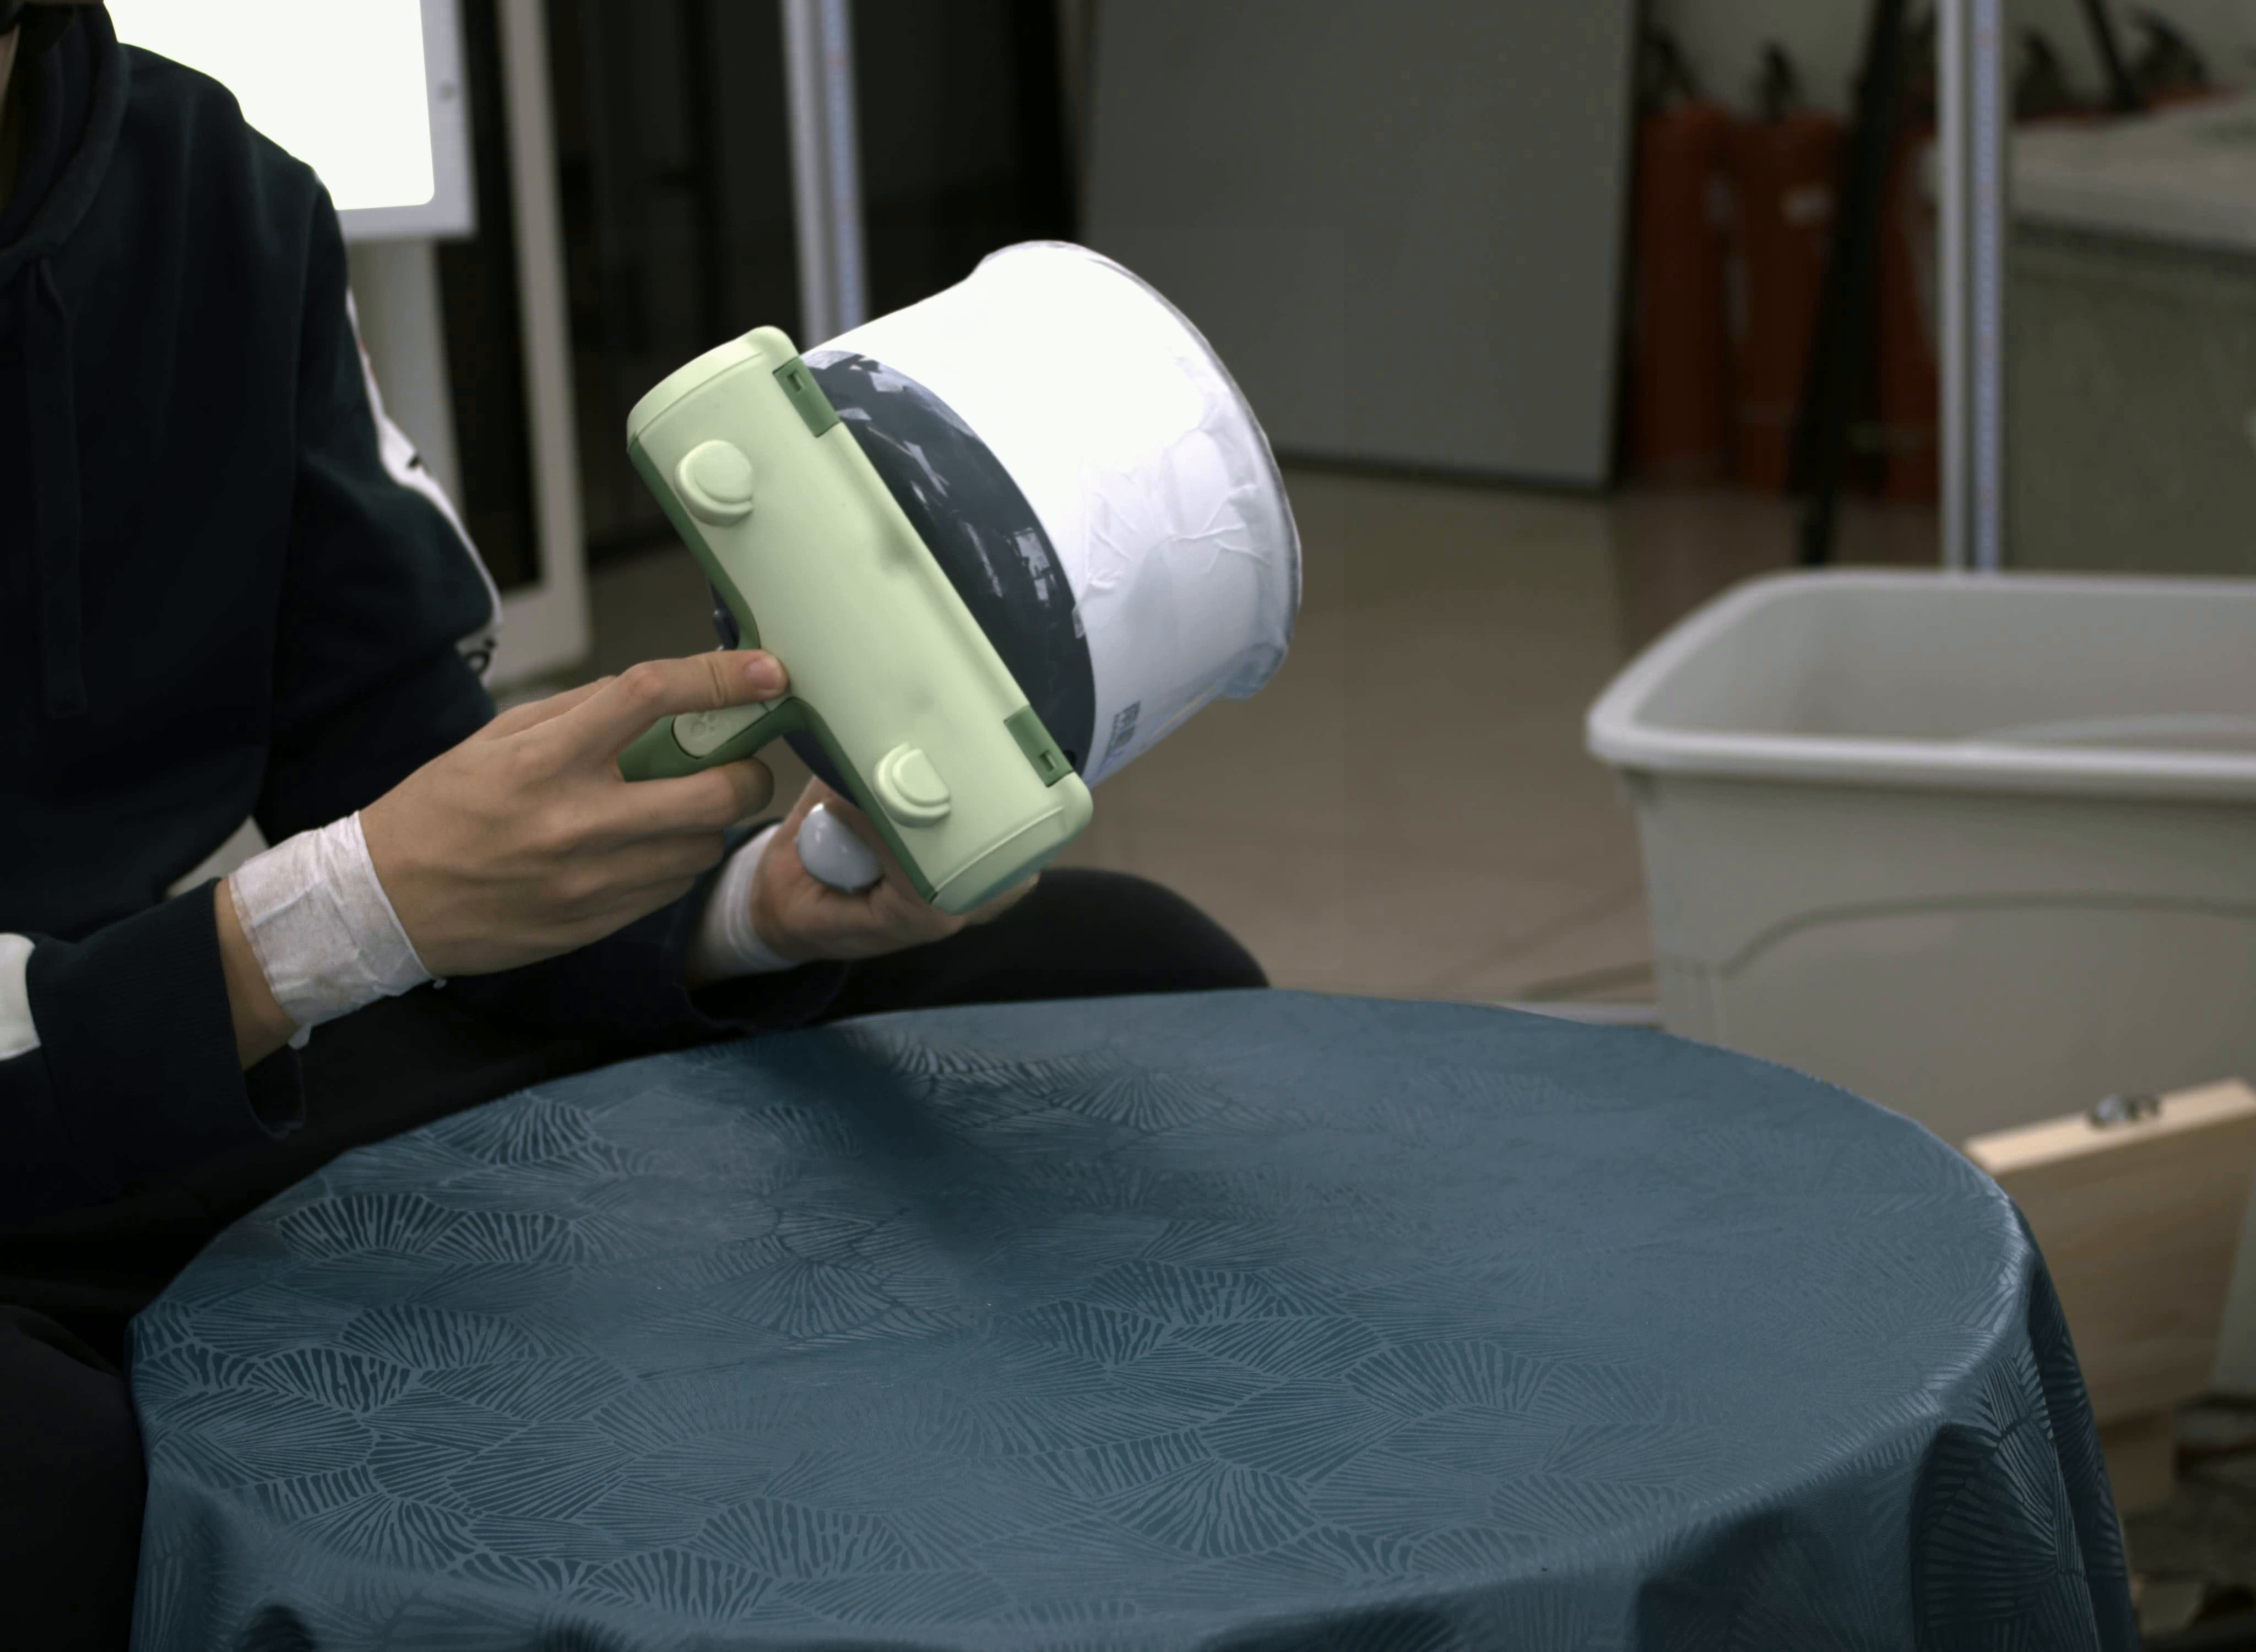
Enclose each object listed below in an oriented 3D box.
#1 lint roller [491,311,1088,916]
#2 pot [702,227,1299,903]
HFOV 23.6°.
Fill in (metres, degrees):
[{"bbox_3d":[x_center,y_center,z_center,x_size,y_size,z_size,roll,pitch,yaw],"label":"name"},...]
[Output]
[{"bbox_3d":[-0.136,-0.035,1.725,0.183,0.200,0.082,-34,-7,7],"label":"lint roller"},{"bbox_3d":[-0.054,-0.075,1.841,0.134,0.235,0.180,-30,62,-32],"label":"pot"}]
